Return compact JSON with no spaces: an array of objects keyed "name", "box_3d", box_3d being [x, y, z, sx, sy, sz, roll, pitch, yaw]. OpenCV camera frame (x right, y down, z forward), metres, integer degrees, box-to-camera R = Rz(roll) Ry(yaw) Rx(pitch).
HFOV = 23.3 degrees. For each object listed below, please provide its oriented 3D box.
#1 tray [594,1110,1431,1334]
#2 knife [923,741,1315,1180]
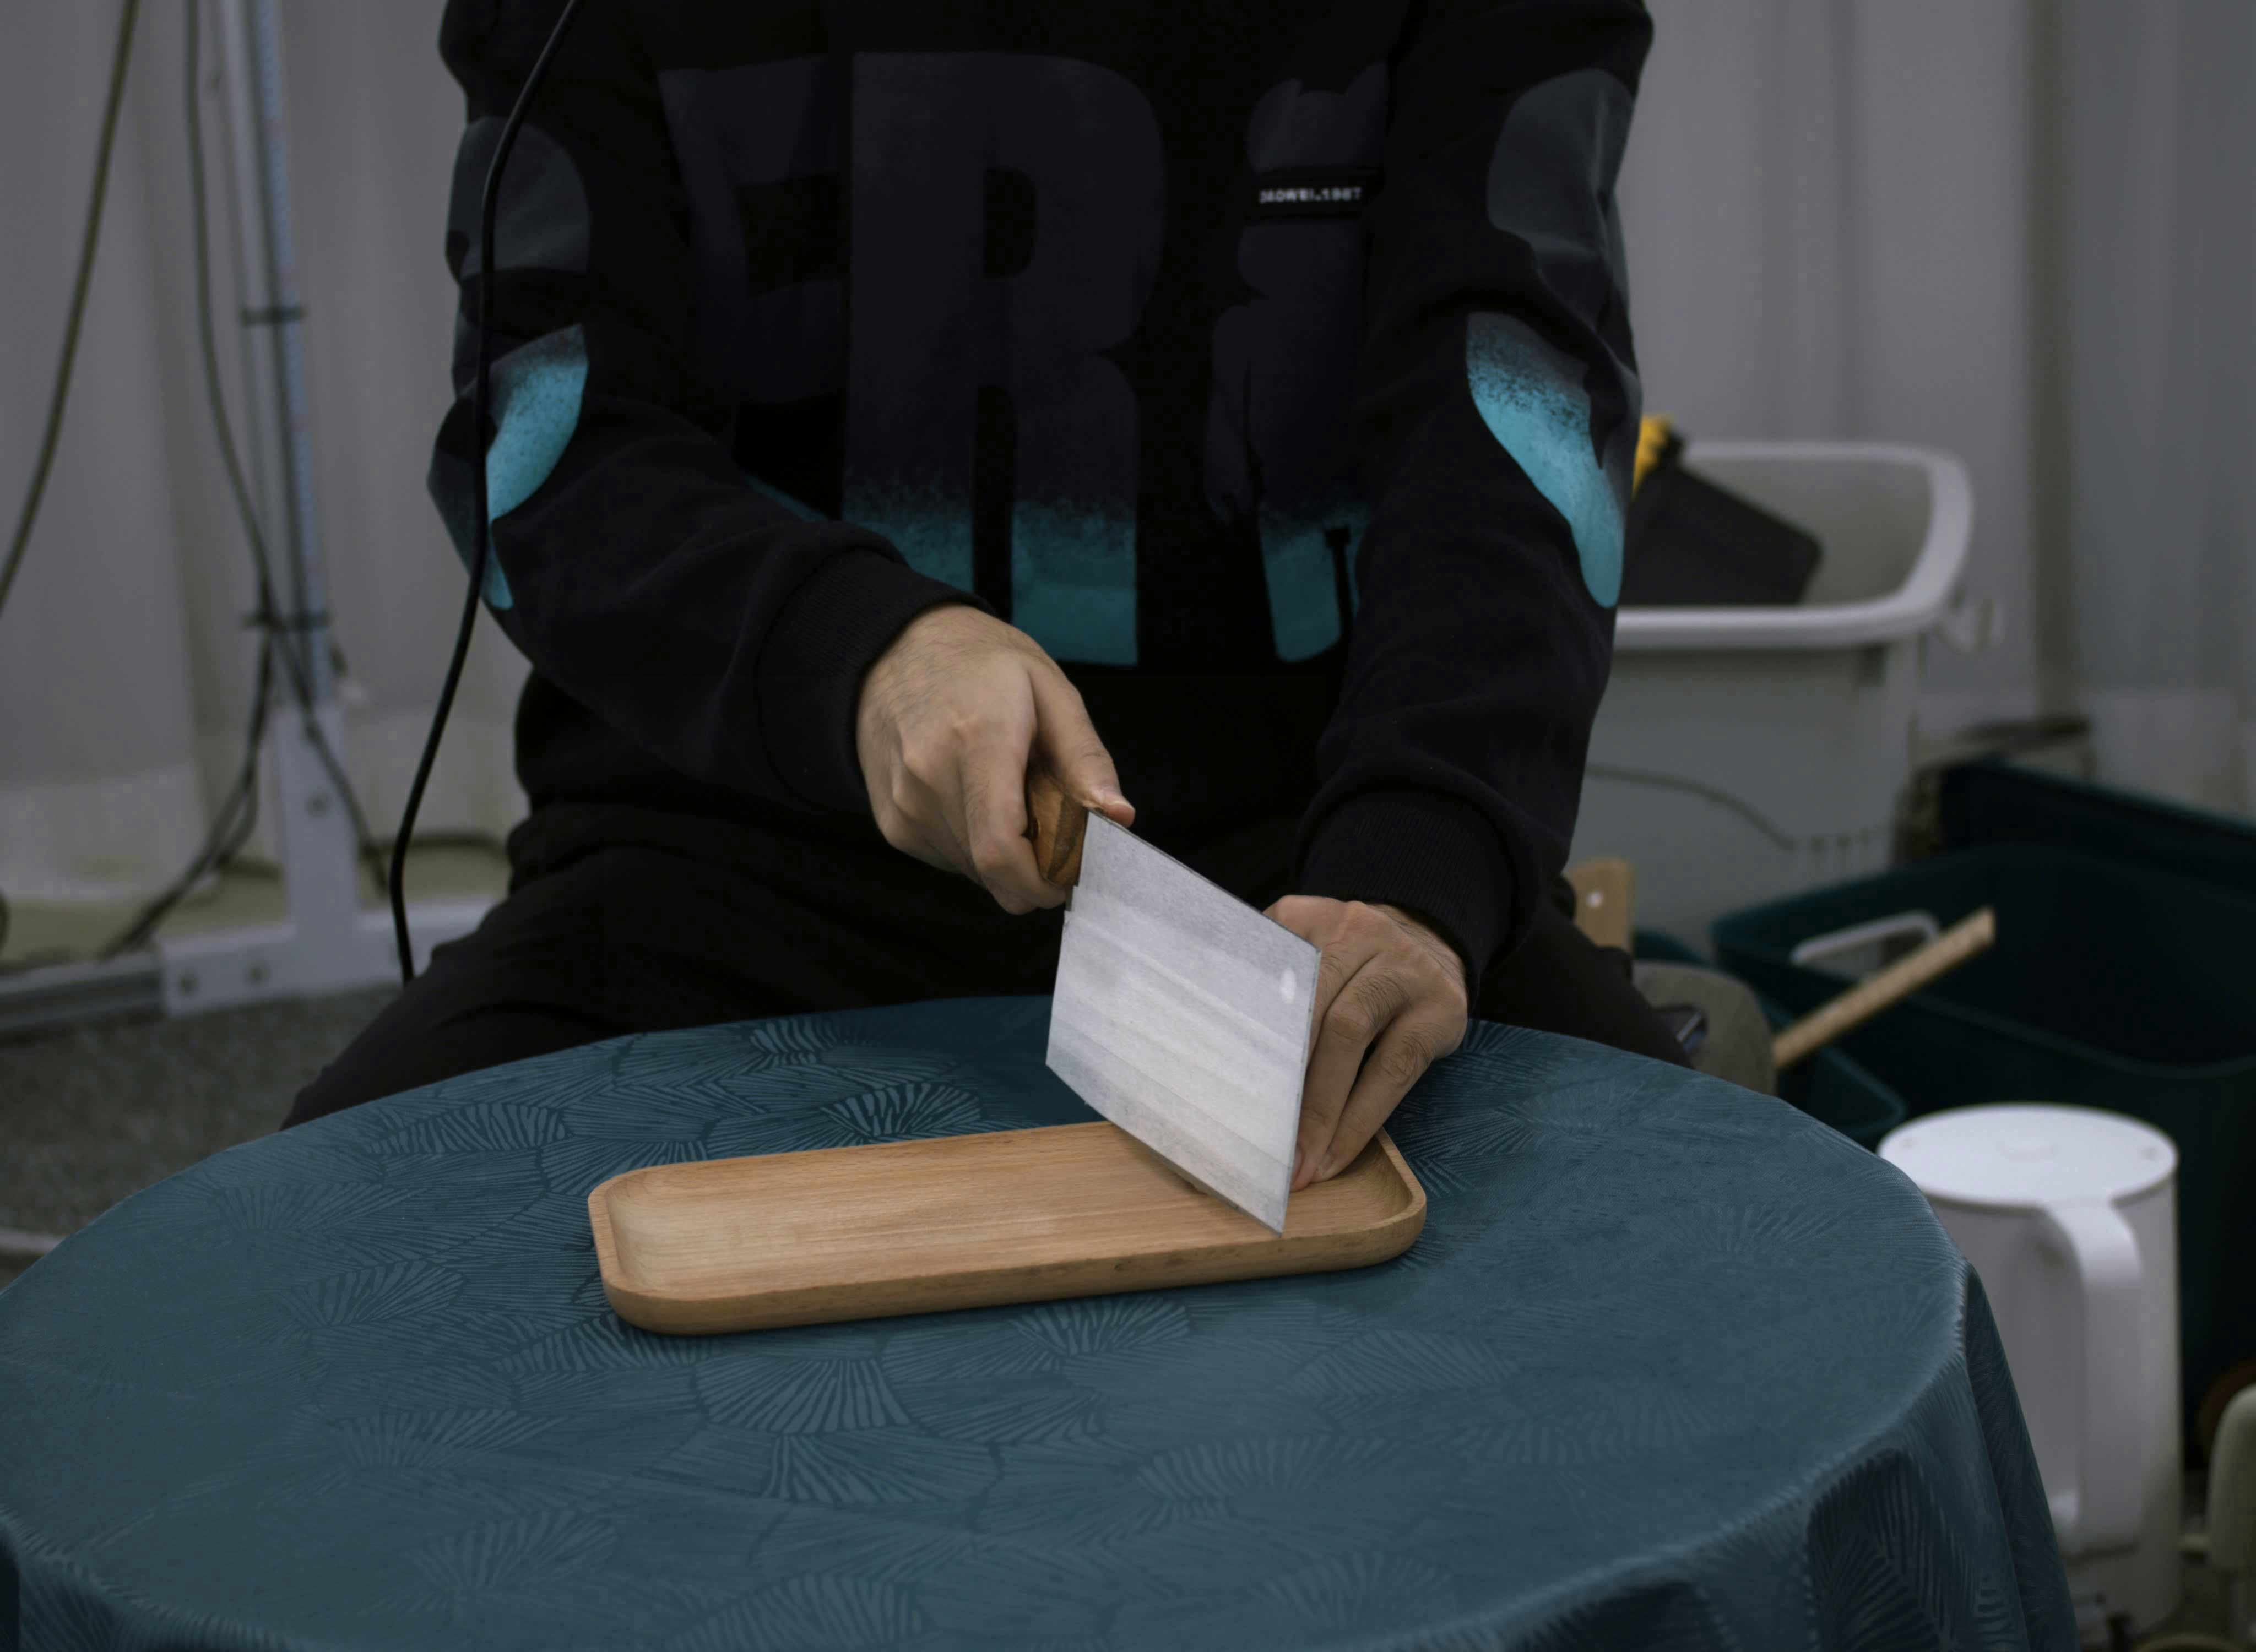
[{"name":"tray","box_3d":[-0.037,0.121,1.671,0.249,0.023,0.131,-4,17,-6]},{"name":"knife","box_3d":[-0.007,0.042,1.744,0.021,0.093,0.308,2,12,-23]}]
